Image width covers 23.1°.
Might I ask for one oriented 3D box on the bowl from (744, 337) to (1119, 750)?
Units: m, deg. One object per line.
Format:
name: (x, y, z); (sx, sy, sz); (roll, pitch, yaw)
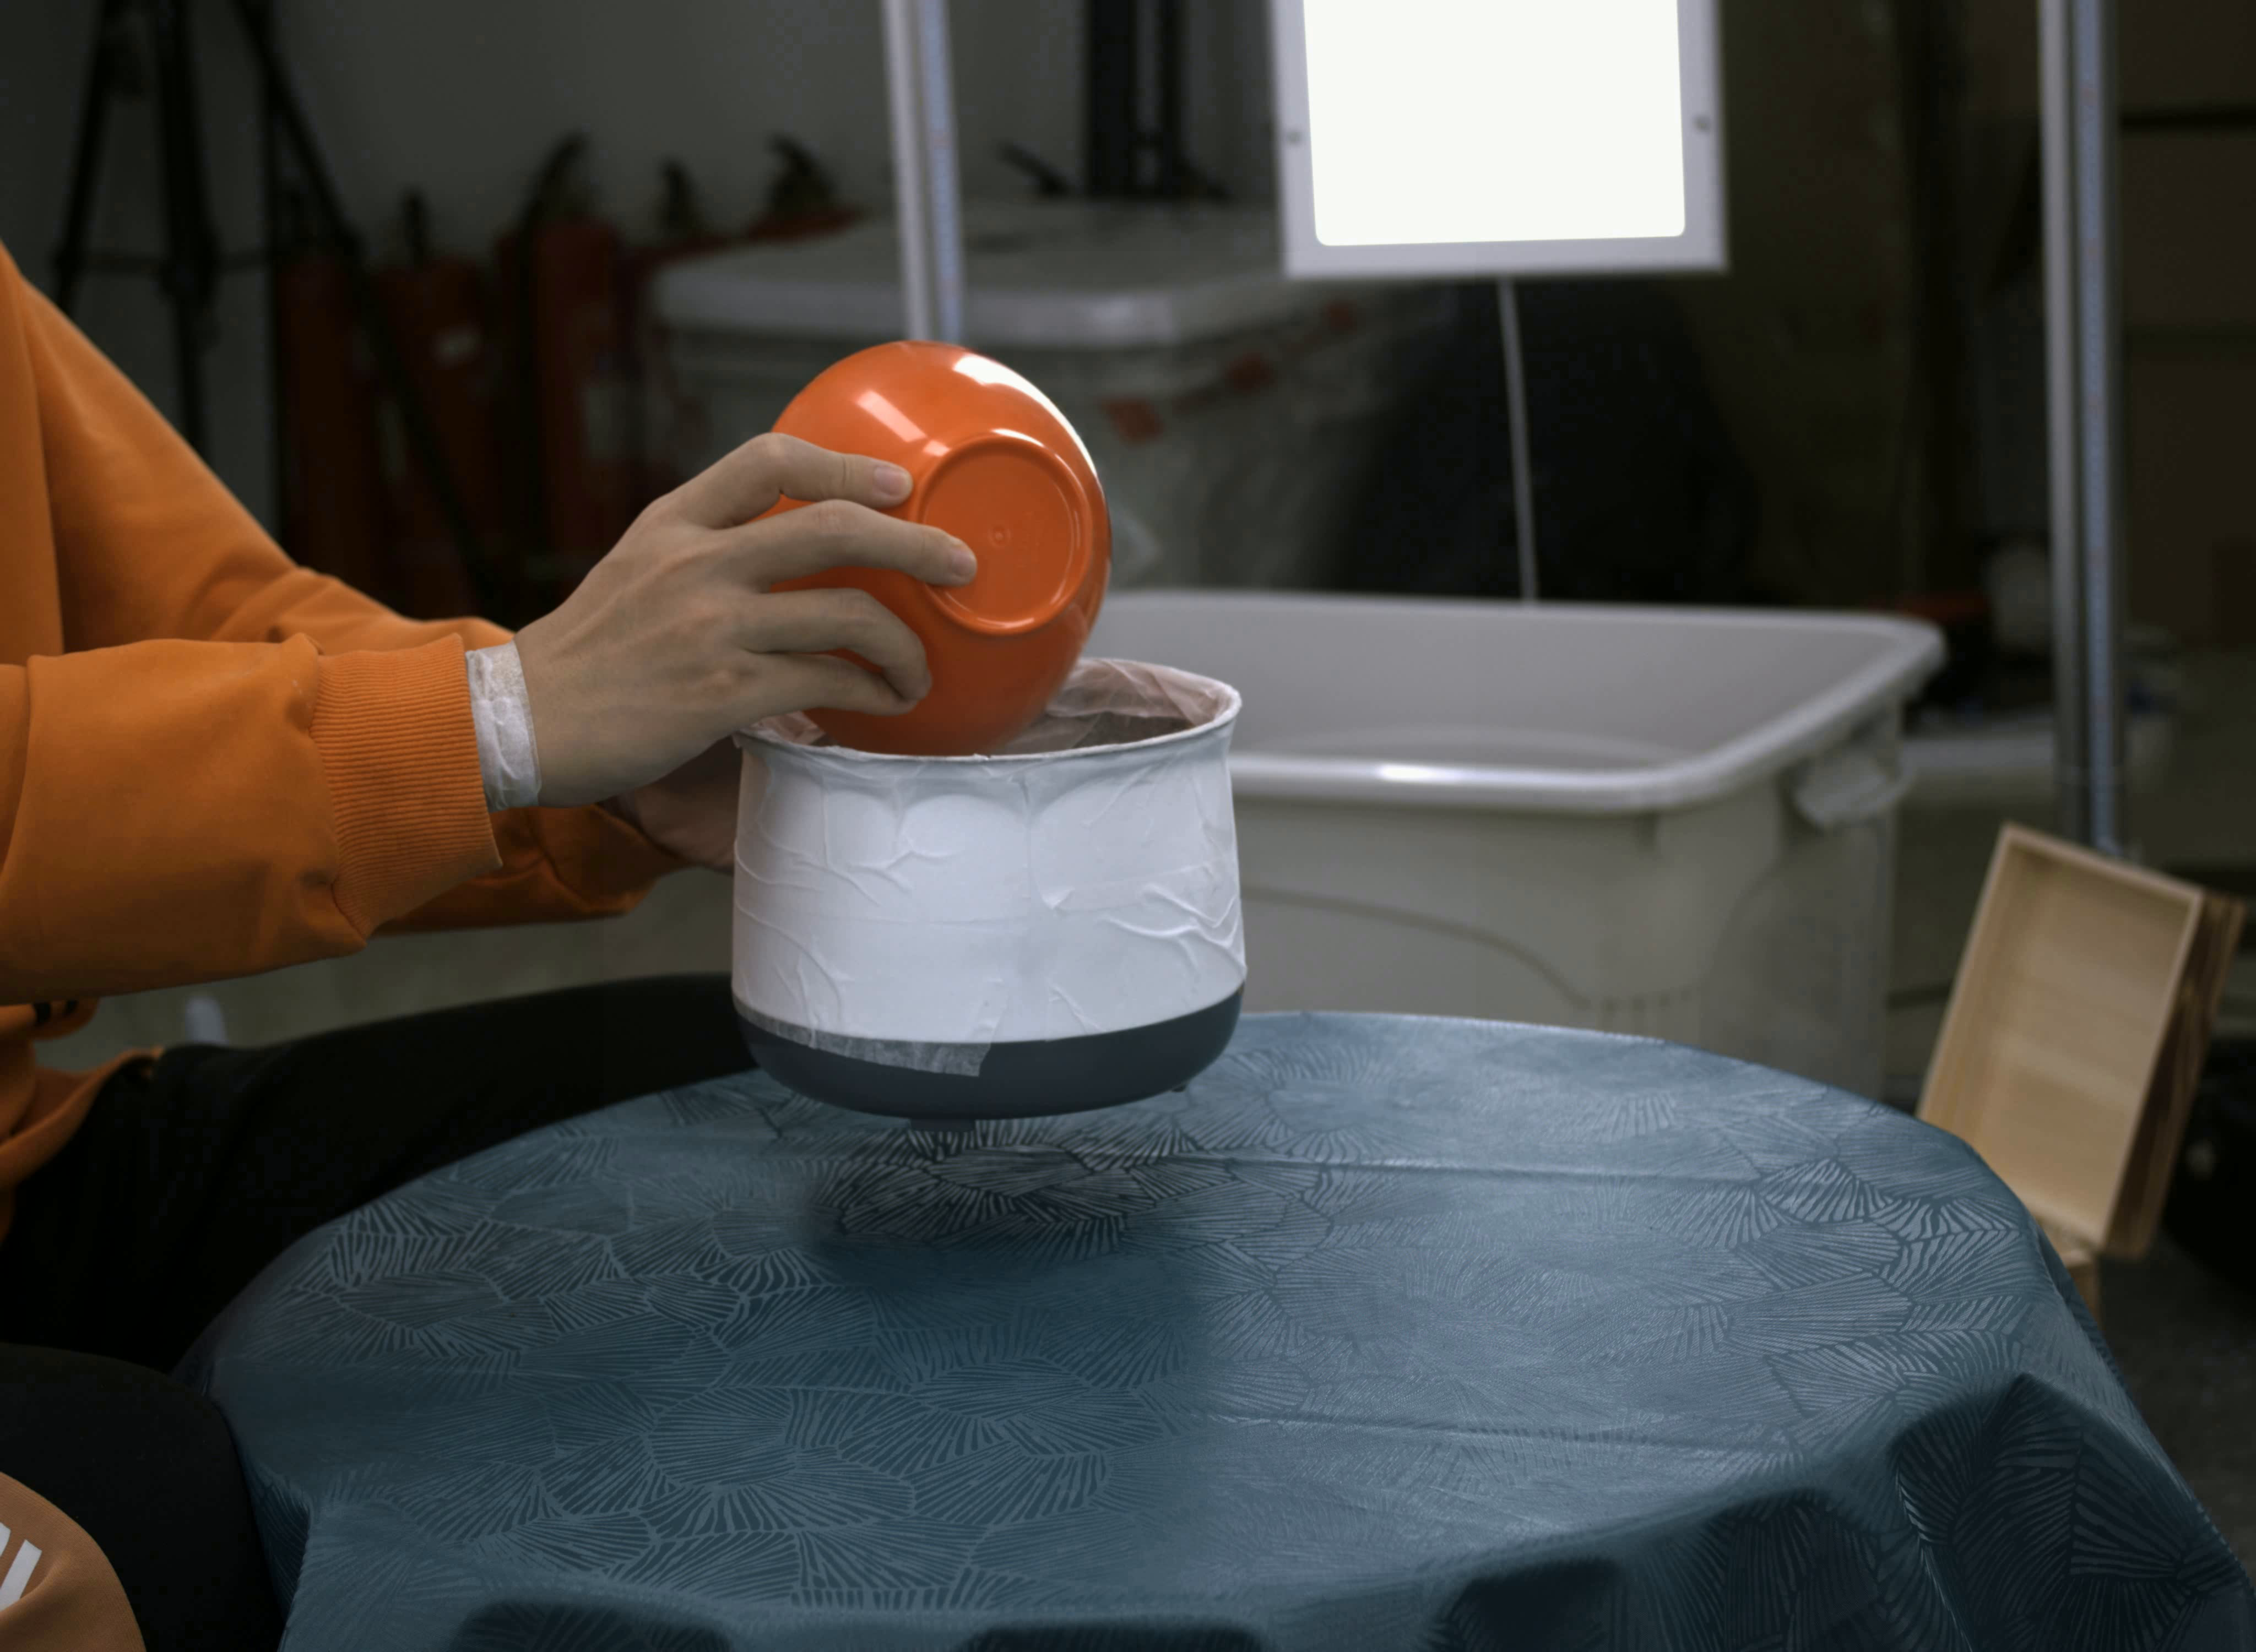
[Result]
bowl: (-0.050, -0.095, 1.861); (0.145, 0.148, 0.106); (-11, 4, -24)

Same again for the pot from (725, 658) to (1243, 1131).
pot: (-0.064, 0.016, 1.907); (0.174, 0.137, 0.238); (-9, 14, -32)
